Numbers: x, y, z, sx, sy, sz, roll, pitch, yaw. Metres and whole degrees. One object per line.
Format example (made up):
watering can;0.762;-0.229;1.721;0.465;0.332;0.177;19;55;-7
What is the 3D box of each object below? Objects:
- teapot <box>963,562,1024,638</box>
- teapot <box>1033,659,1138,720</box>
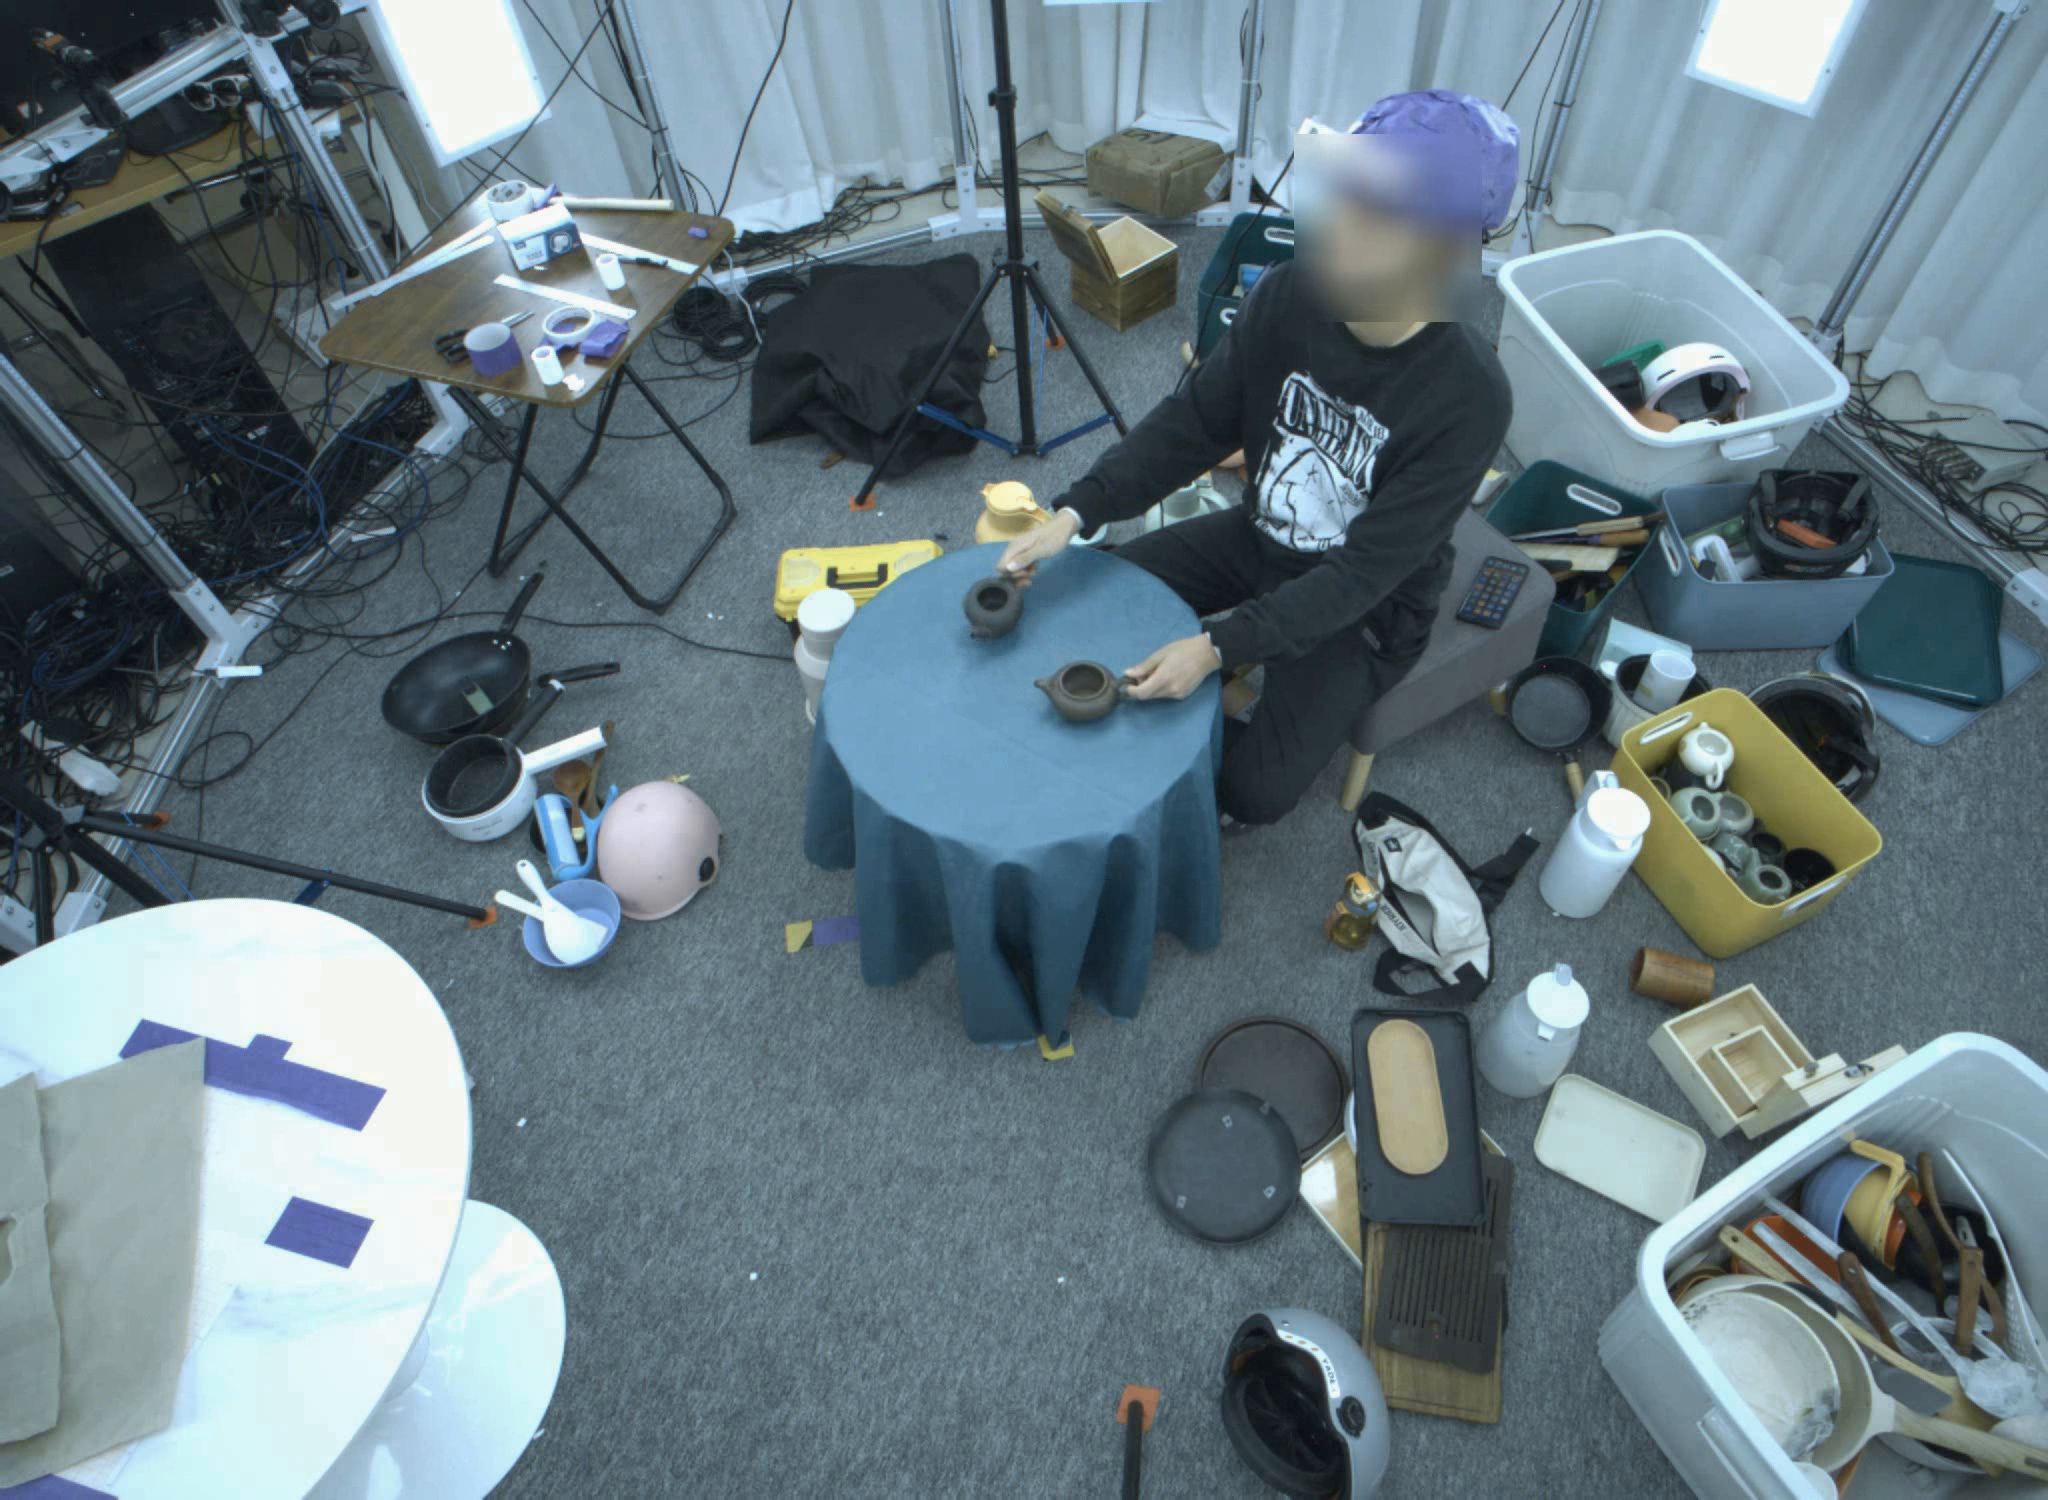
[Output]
teapot;-0.046;-0.226;1.891;0.091;0.065;0.154;25;69;10
teapot;0.091;-0.090;1.811;0.154;0.054;0.101;-9;56;-4
